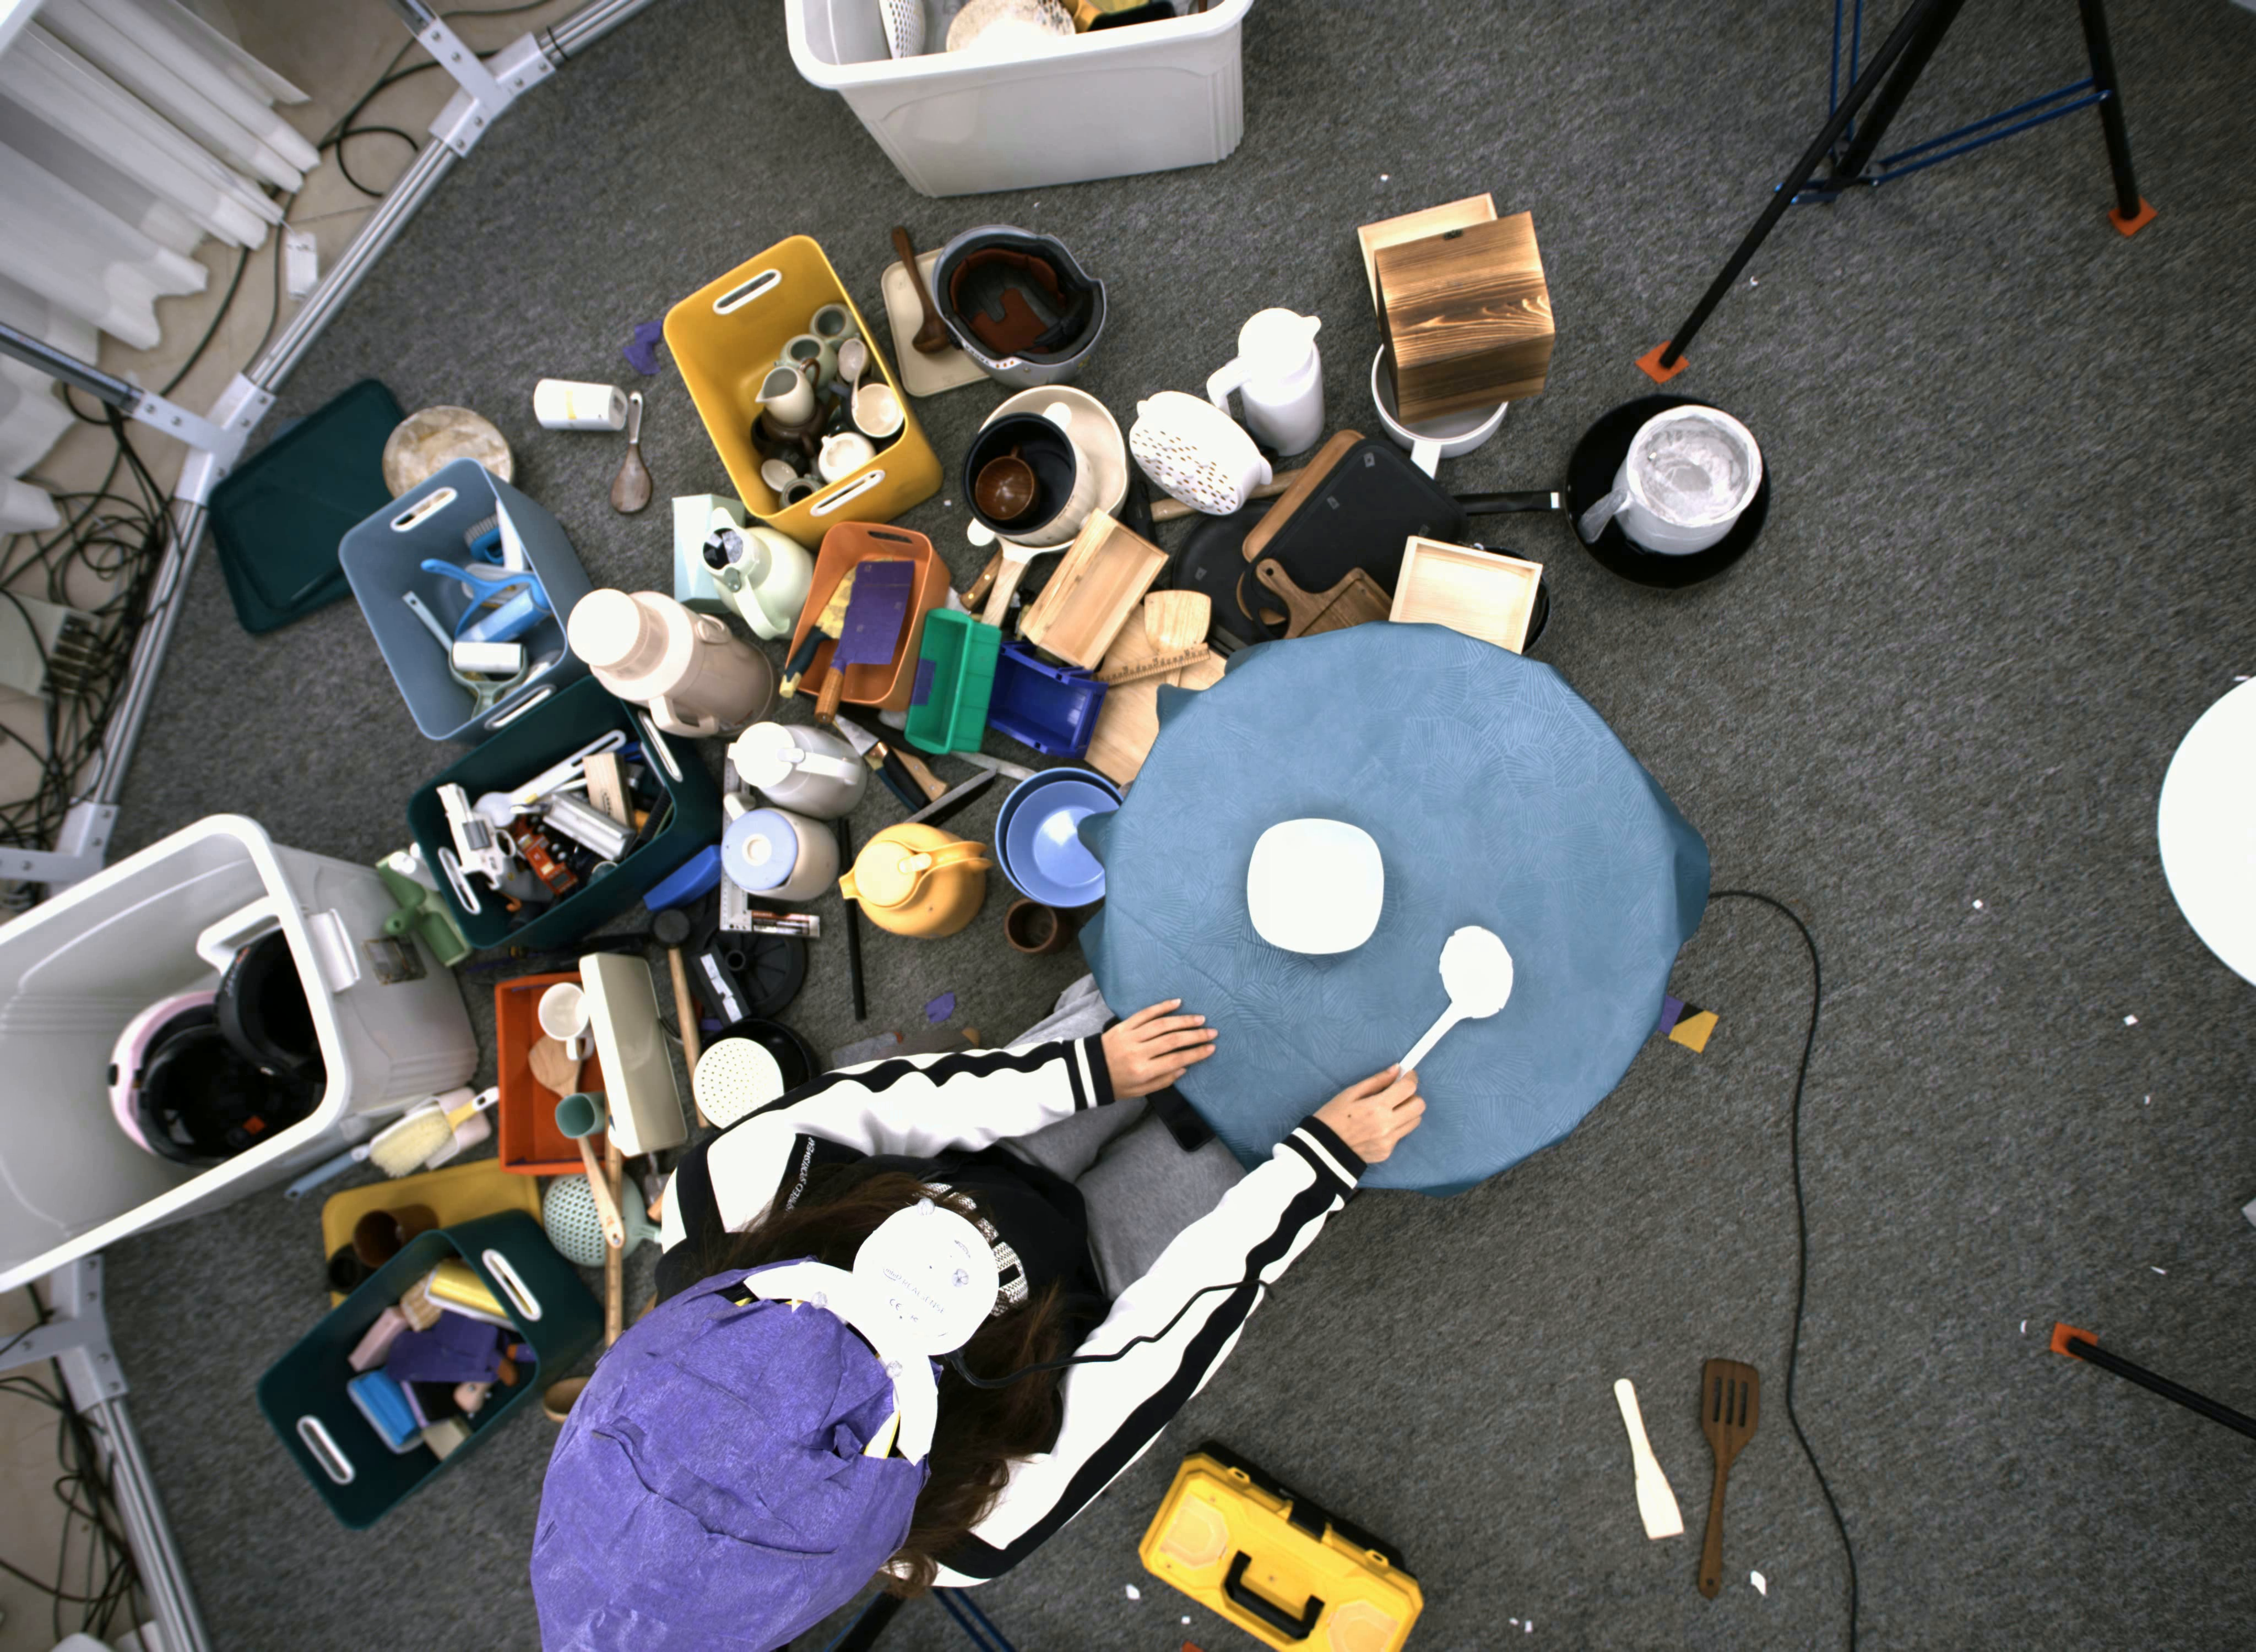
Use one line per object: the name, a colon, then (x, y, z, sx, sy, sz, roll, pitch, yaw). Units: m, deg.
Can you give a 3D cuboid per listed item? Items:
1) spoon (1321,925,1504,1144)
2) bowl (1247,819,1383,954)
spoon: (0.283, 0.216, 1.424, 0.279, 0.060, 0.099, -47, 40, 9)
bowl: (0.196, 0.064, 1.448, 0.152, 0.058, 0.151, -1, 86, 10)
